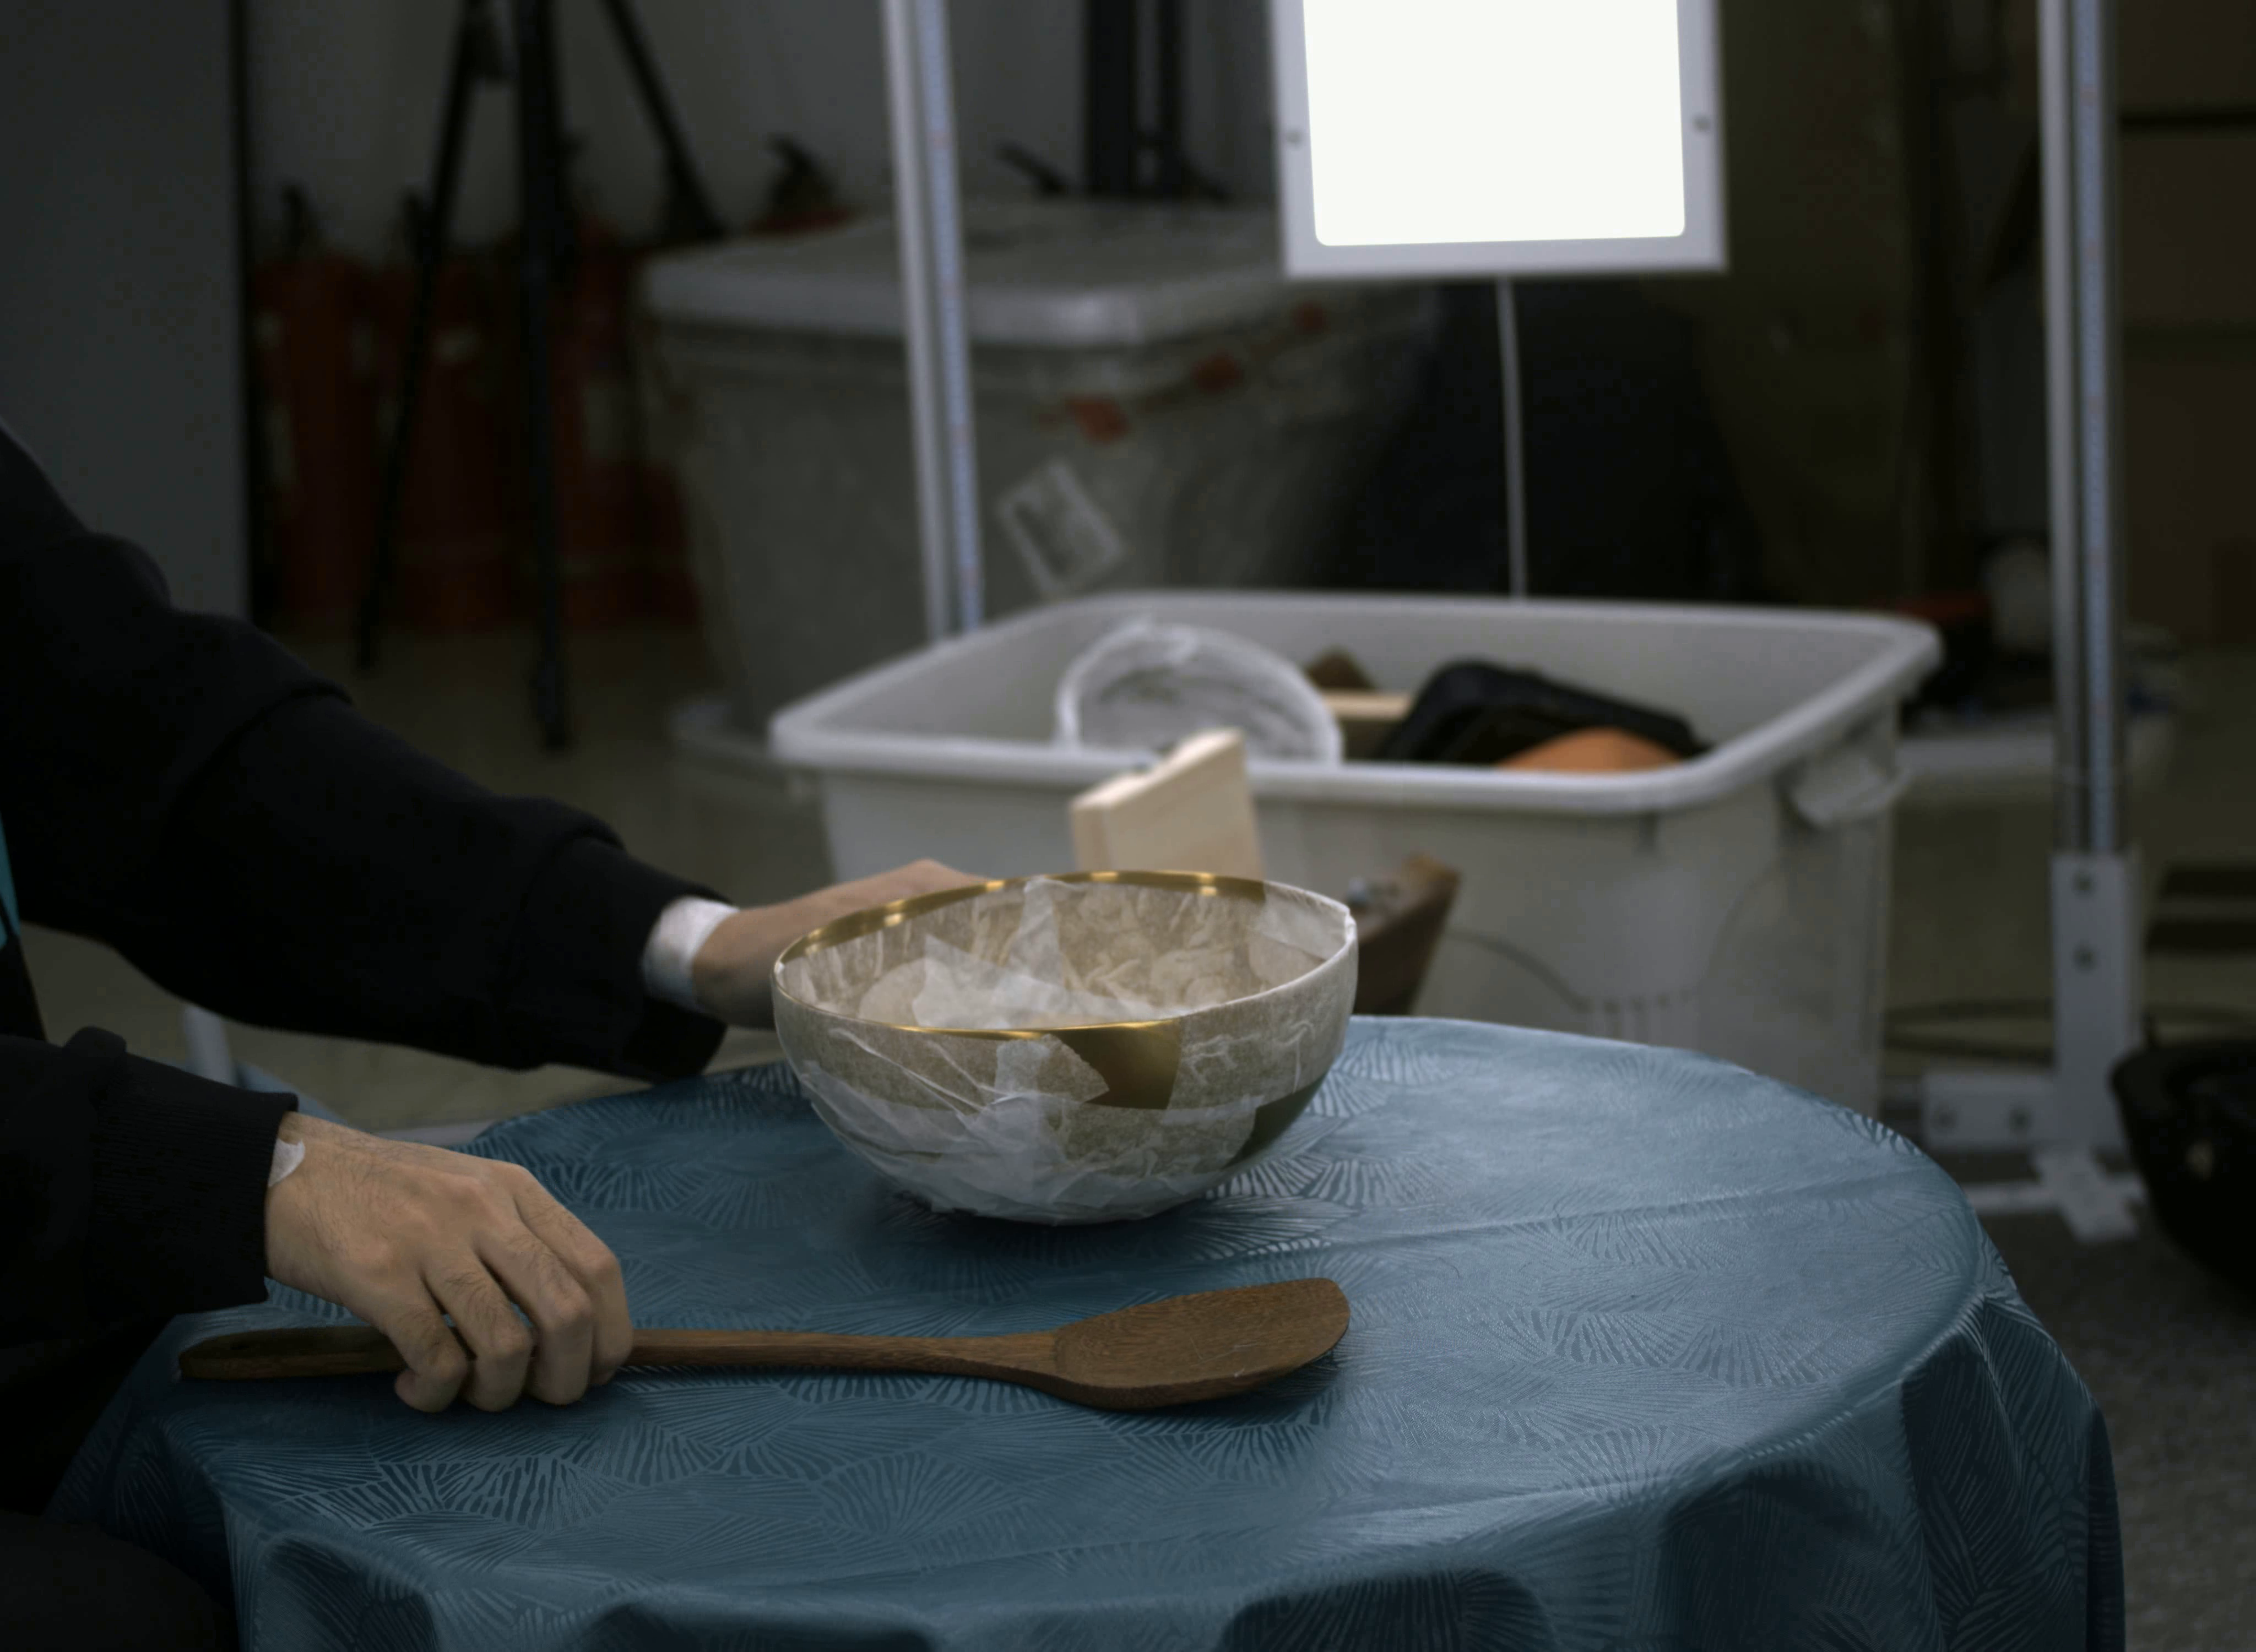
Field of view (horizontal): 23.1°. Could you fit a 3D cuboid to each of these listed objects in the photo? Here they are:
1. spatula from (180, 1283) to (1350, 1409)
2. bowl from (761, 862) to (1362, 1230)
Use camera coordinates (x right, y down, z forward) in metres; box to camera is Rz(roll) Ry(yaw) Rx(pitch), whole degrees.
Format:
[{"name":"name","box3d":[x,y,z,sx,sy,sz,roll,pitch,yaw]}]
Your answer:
[{"name":"spatula","box3d":[-0.120,0.166,1.751,0.389,0.016,0.095,-2,14,15]},{"name":"bowl","box3d":[-0.020,0.083,1.889,0.214,0.095,0.214,-7,15,0]}]
